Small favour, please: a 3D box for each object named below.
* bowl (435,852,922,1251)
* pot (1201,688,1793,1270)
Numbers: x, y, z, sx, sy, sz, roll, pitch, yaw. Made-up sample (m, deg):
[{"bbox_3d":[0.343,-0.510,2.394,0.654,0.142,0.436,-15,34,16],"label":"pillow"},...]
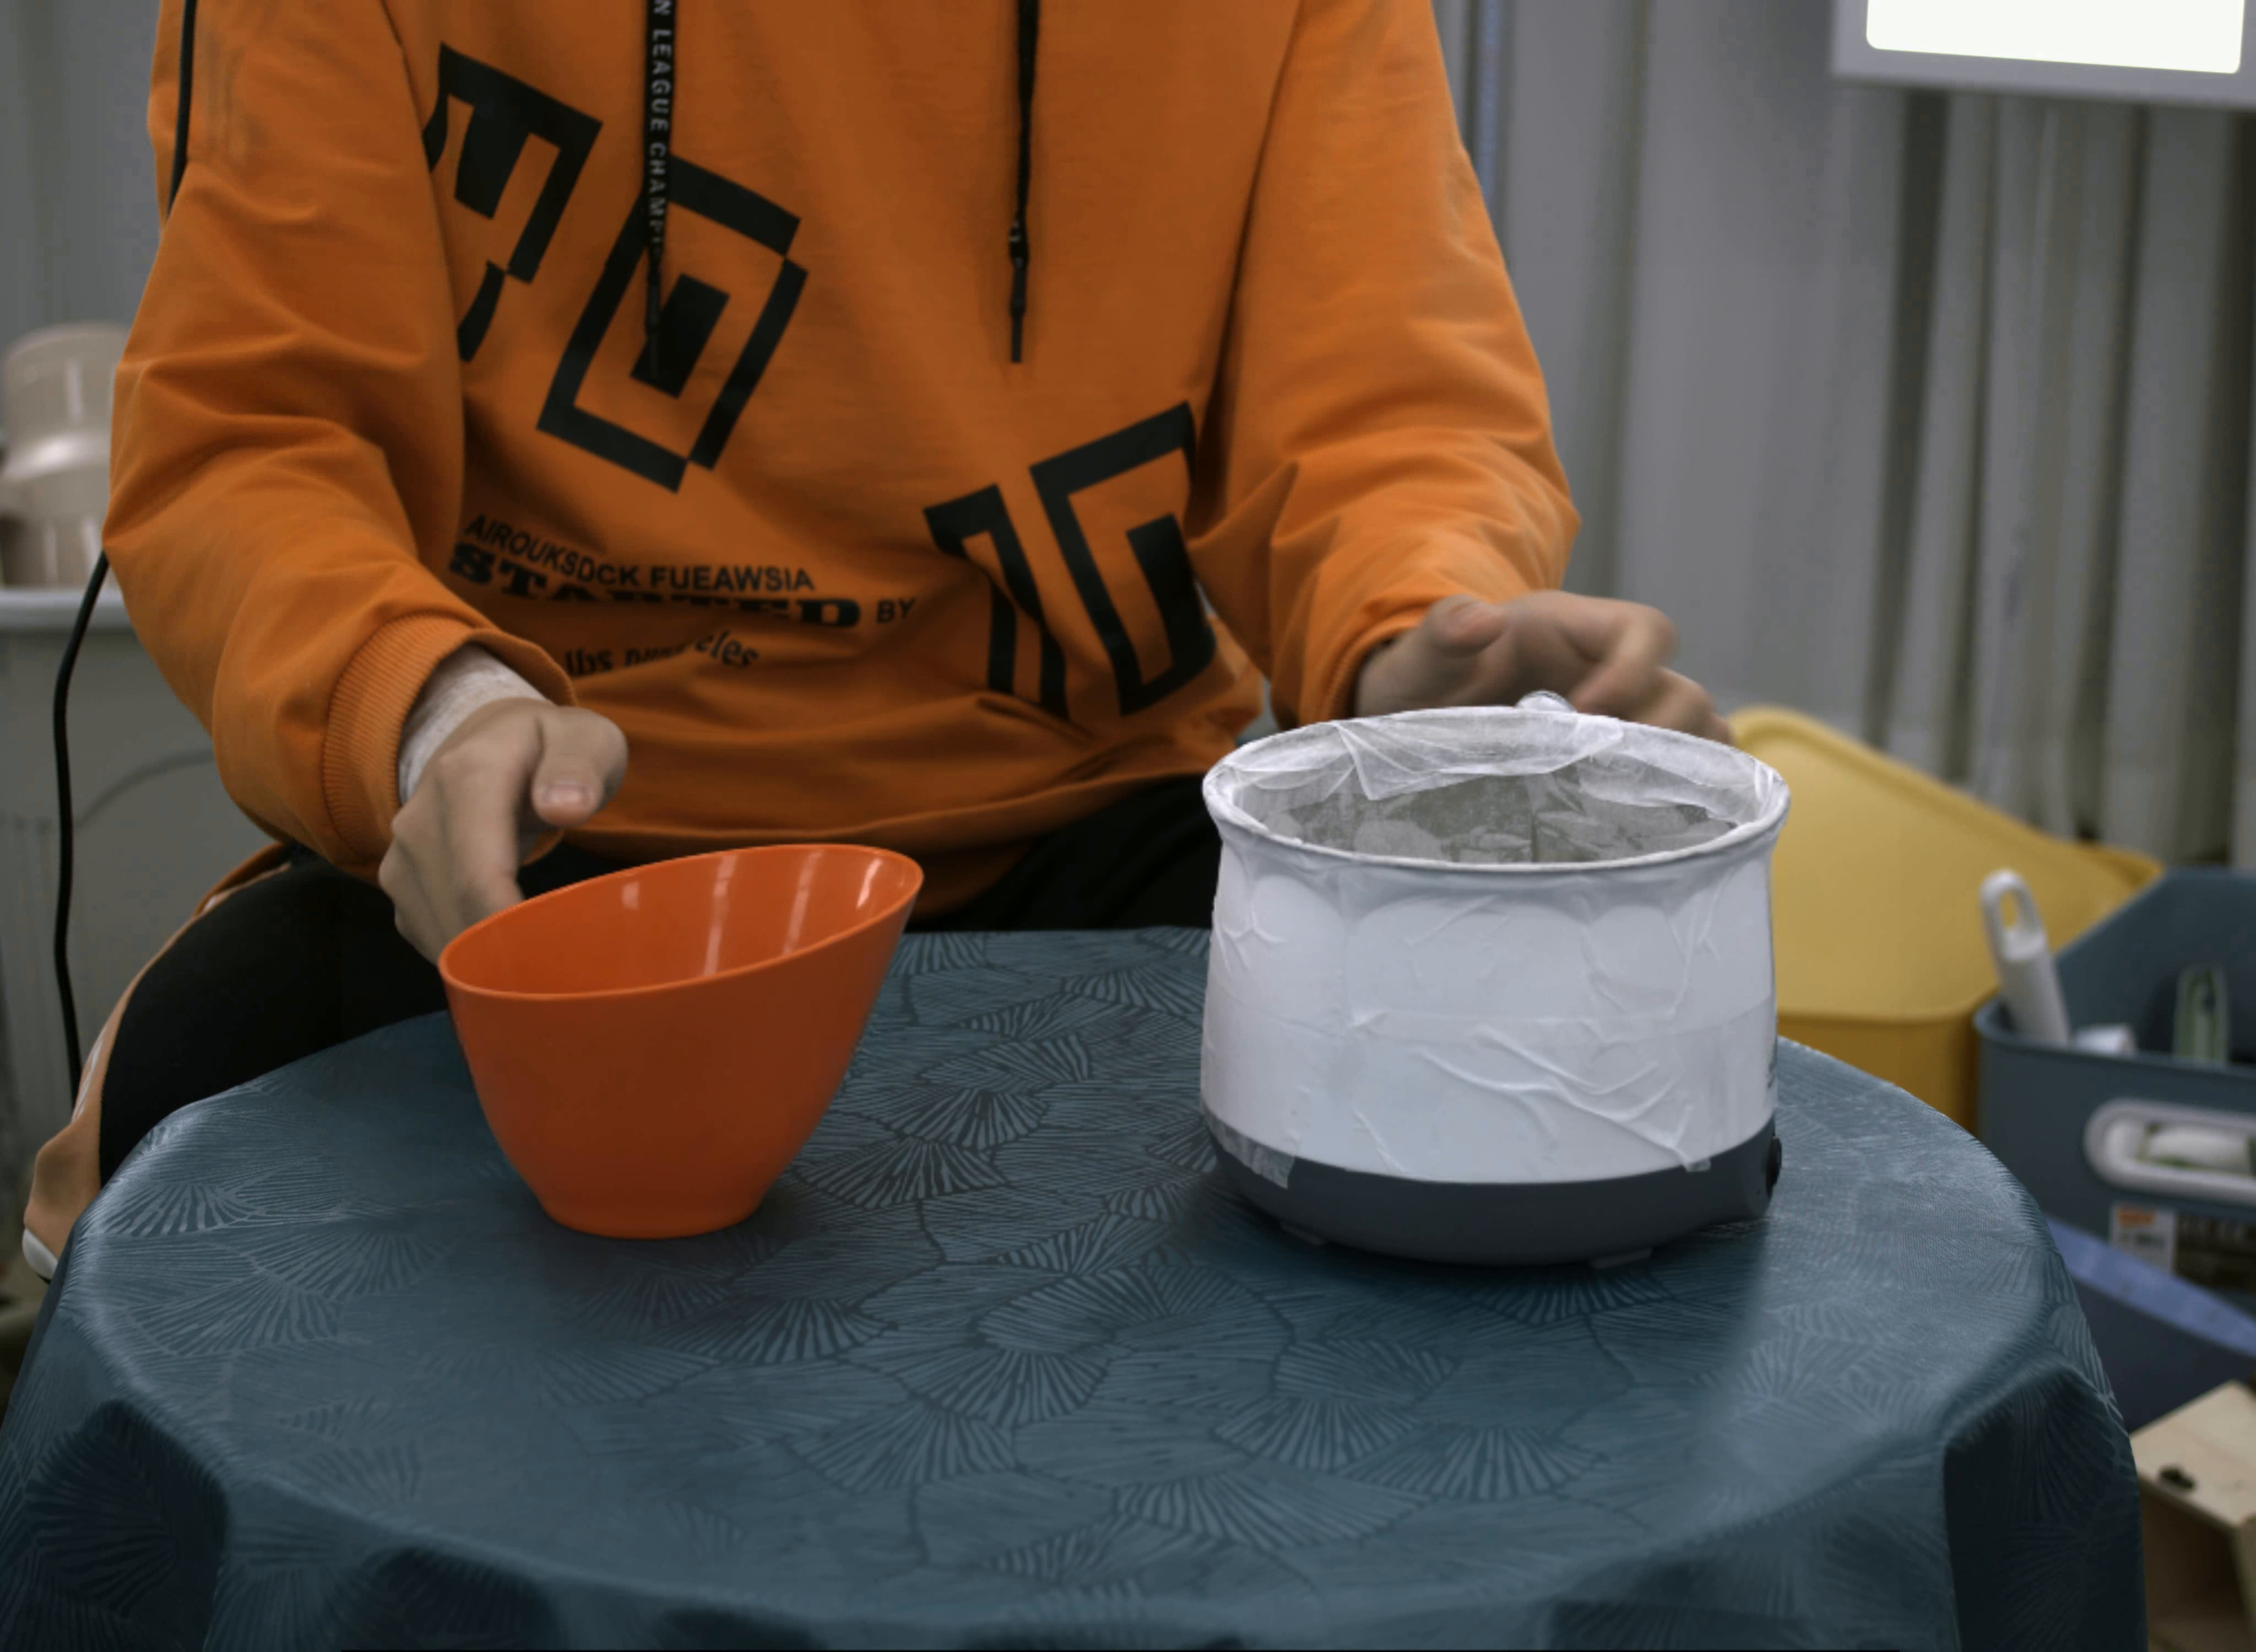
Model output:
[{"bbox_3d":[-0.134,0.069,1.592,0.147,0.105,0.147,-1,16,1],"label":"bowl"},{"bbox_3d":[0.116,0.041,1.625,0.177,0.138,0.233,4,16,10],"label":"pot"}]
